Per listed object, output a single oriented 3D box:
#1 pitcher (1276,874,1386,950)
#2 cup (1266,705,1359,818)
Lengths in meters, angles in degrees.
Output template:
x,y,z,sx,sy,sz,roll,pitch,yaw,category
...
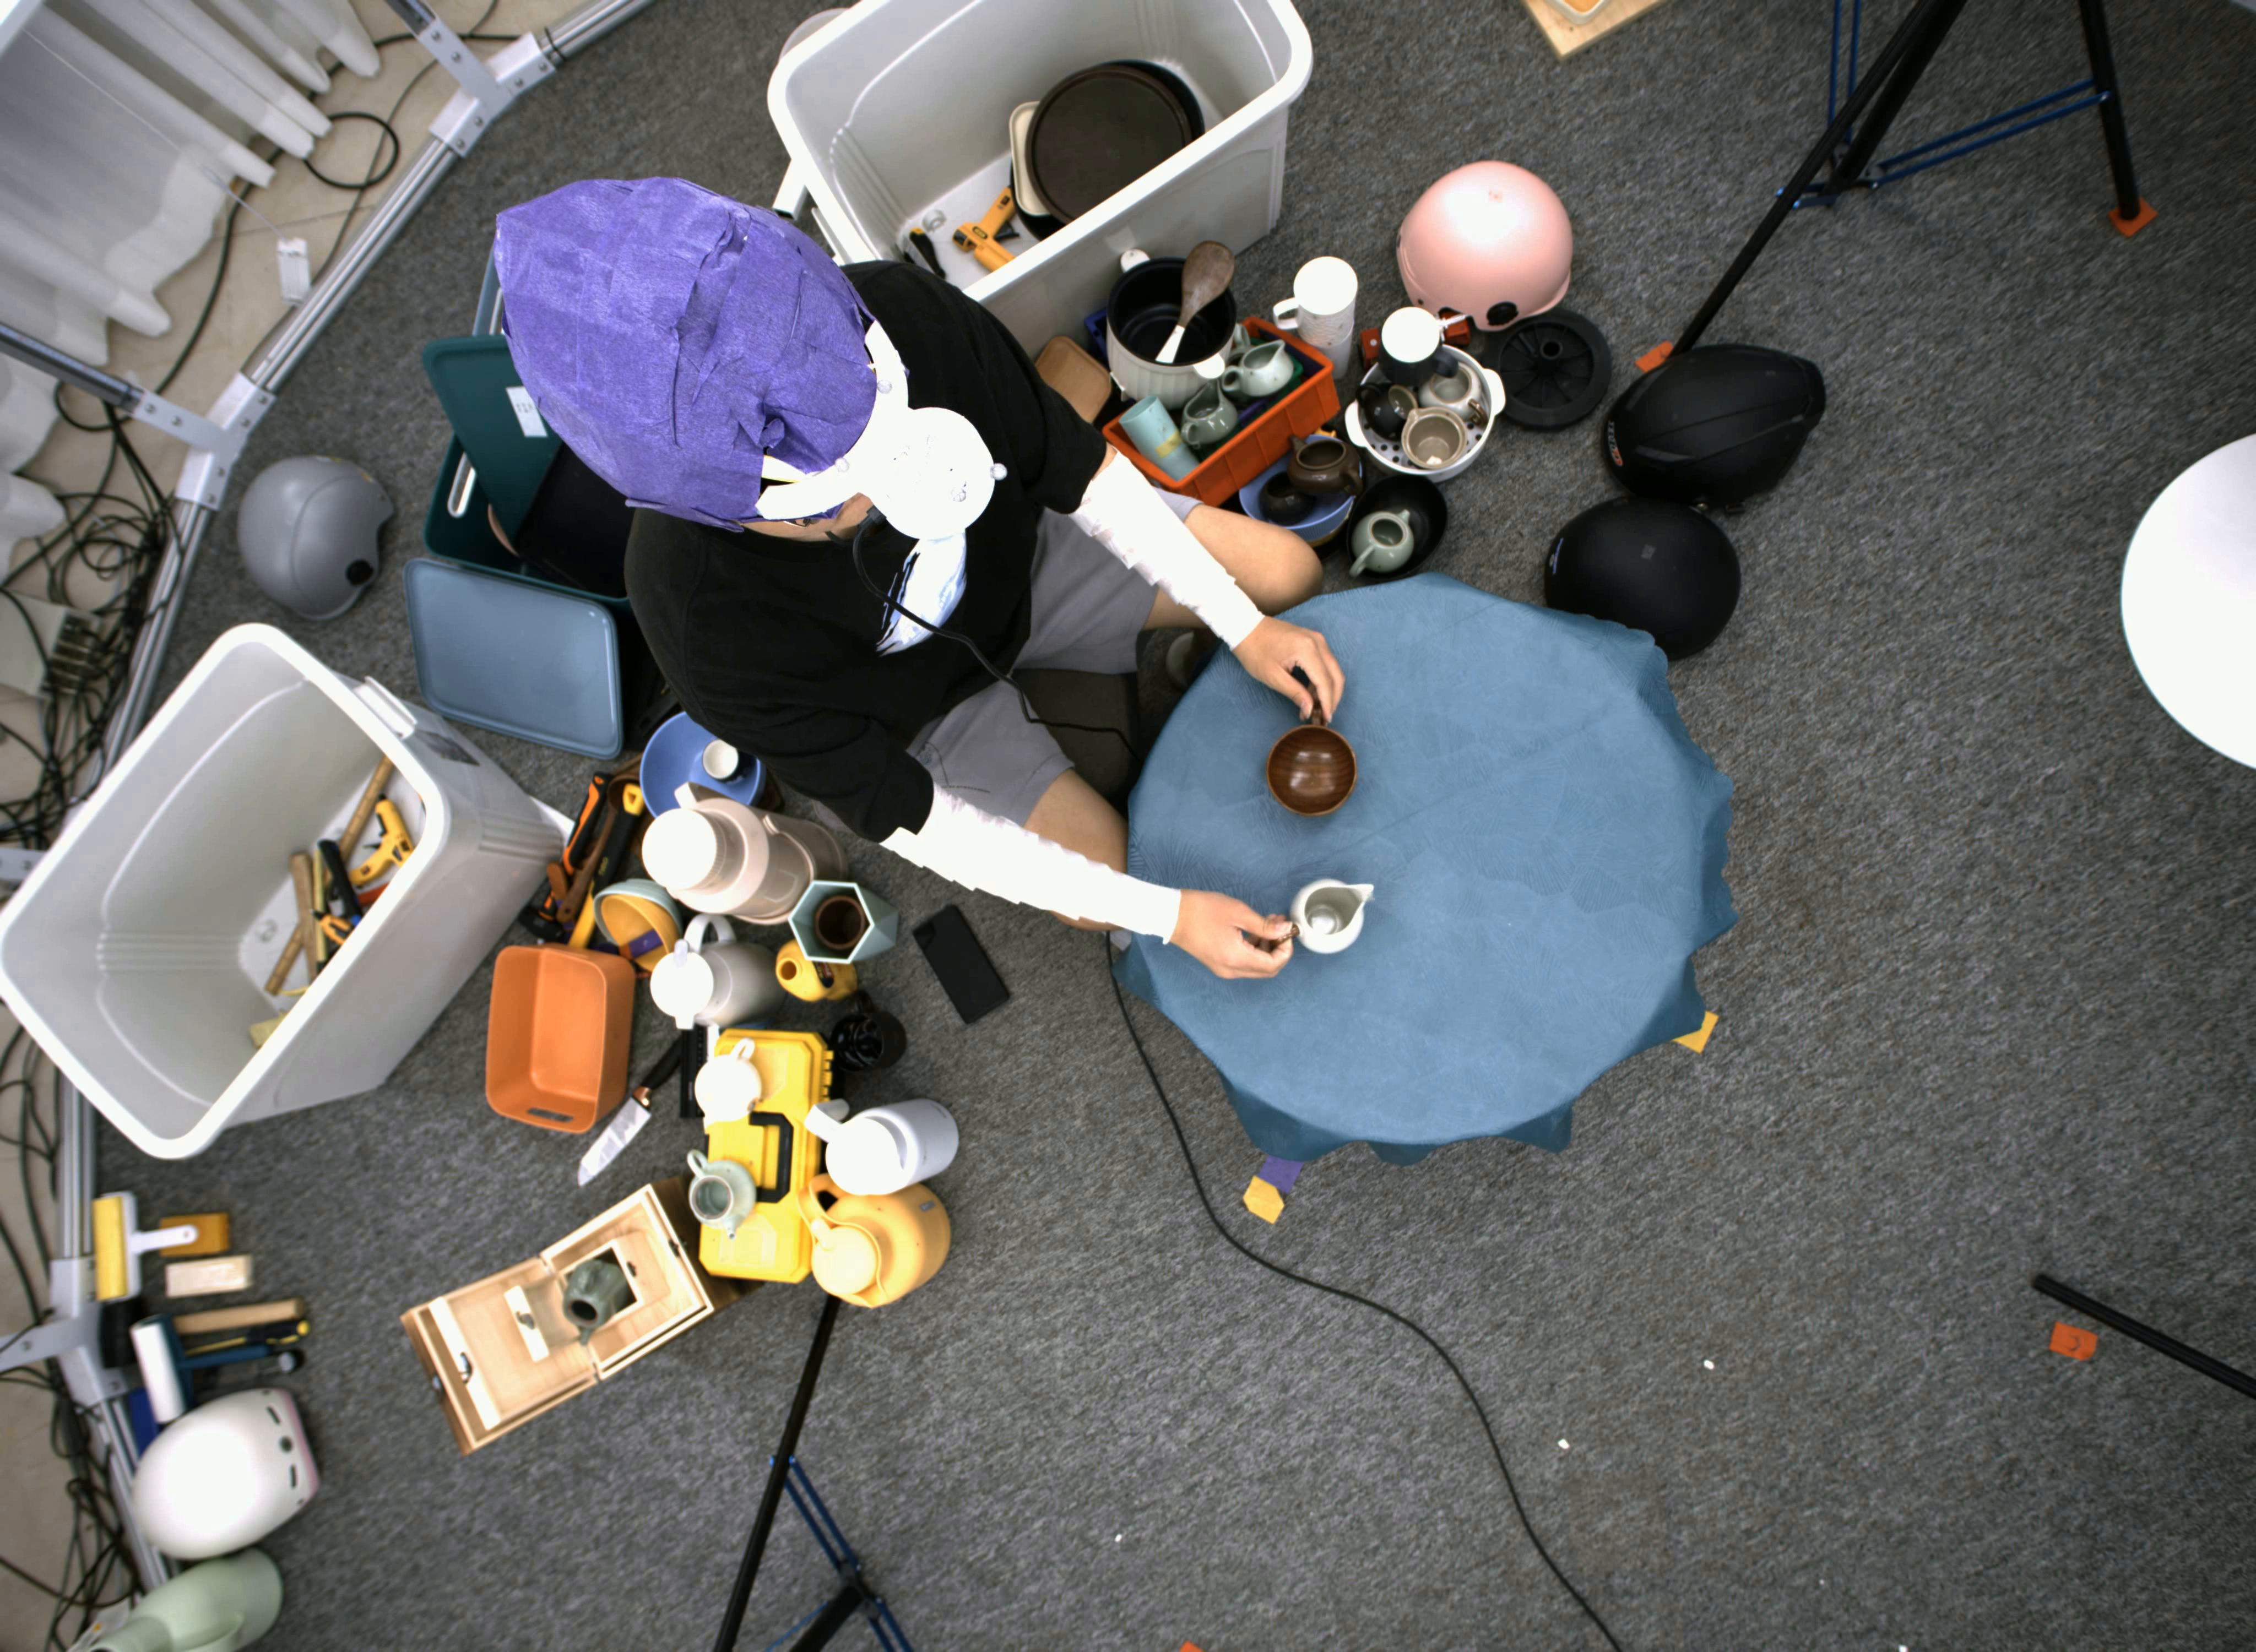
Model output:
x,y,z,sx,sy,sz,roll,pitch,yaw,category
0.205,0.092,1.421,0.119,0.089,0.075,-22,72,-5,pitcher
0.197,-0.067,1.447,0.096,0.068,0.119,3,85,14,cup
